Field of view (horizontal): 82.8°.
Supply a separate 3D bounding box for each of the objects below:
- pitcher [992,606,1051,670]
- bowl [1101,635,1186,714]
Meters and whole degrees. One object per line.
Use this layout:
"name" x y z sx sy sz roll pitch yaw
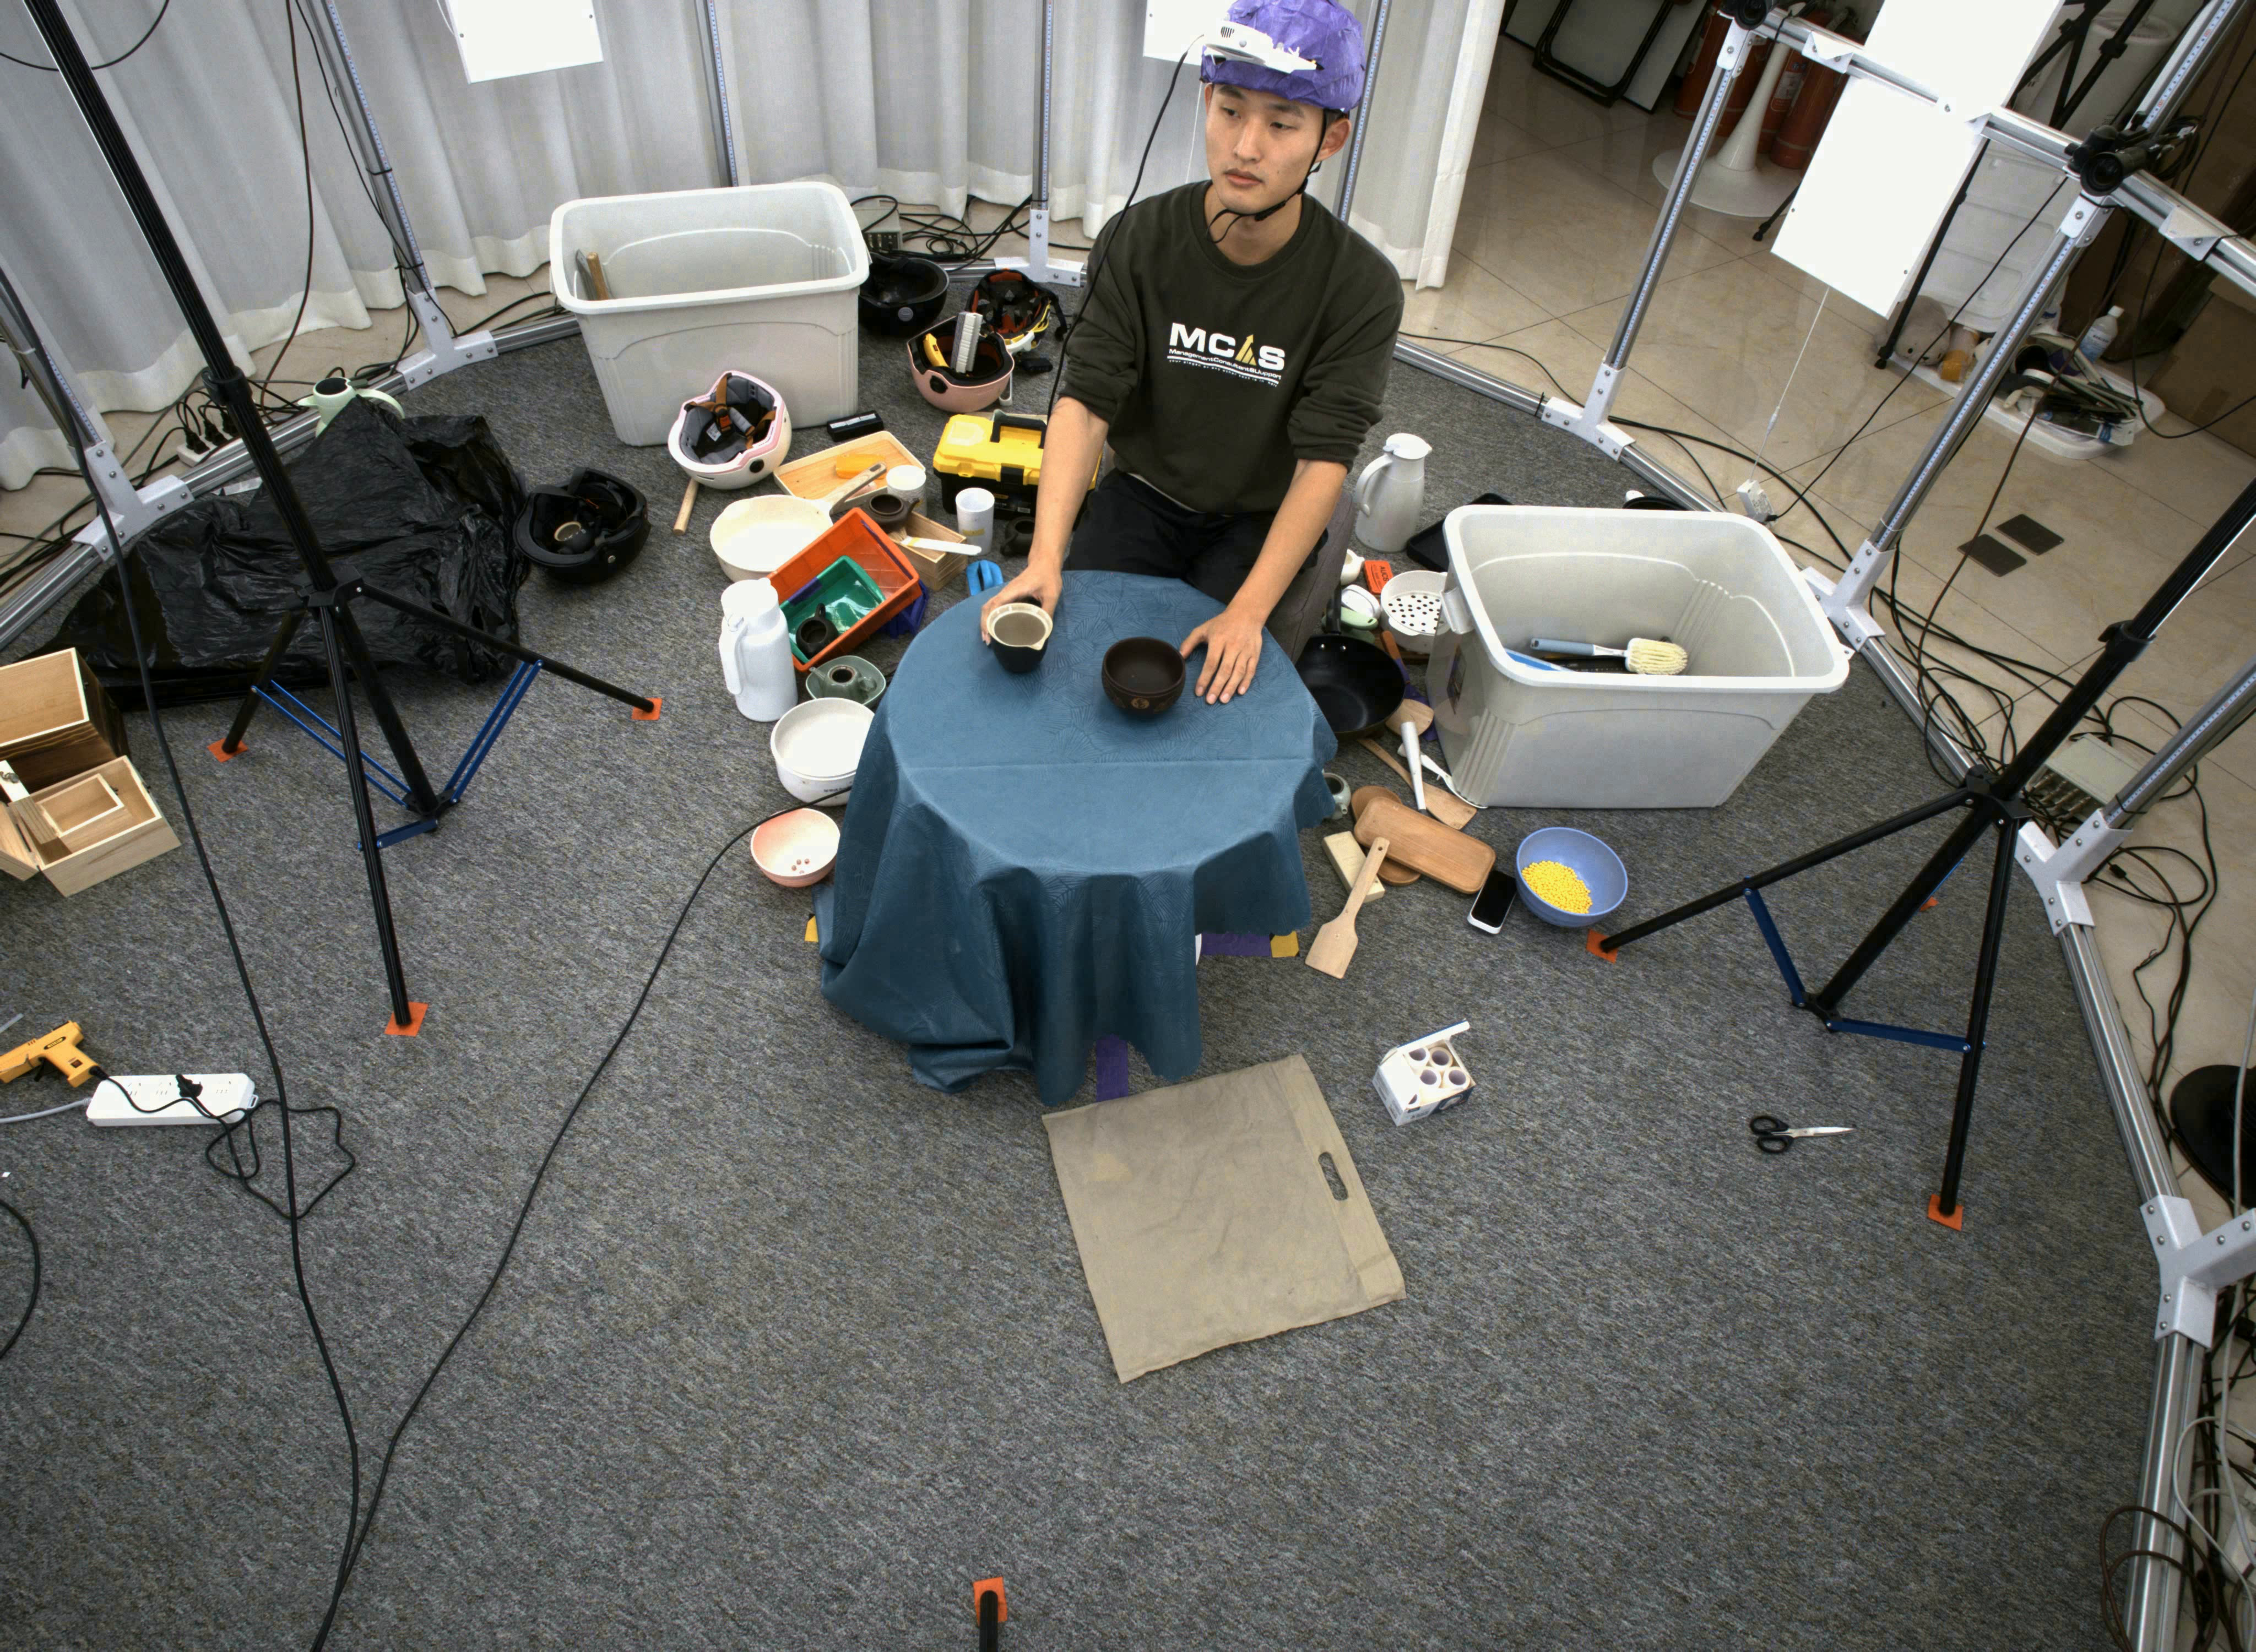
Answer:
"pitcher" -0.150 -0.262 1.833 0.084 0.069 0.098 -18 52 -21
"bowl" 0.021 -0.204 1.797 0.118 0.068 0.121 1 50 -2
